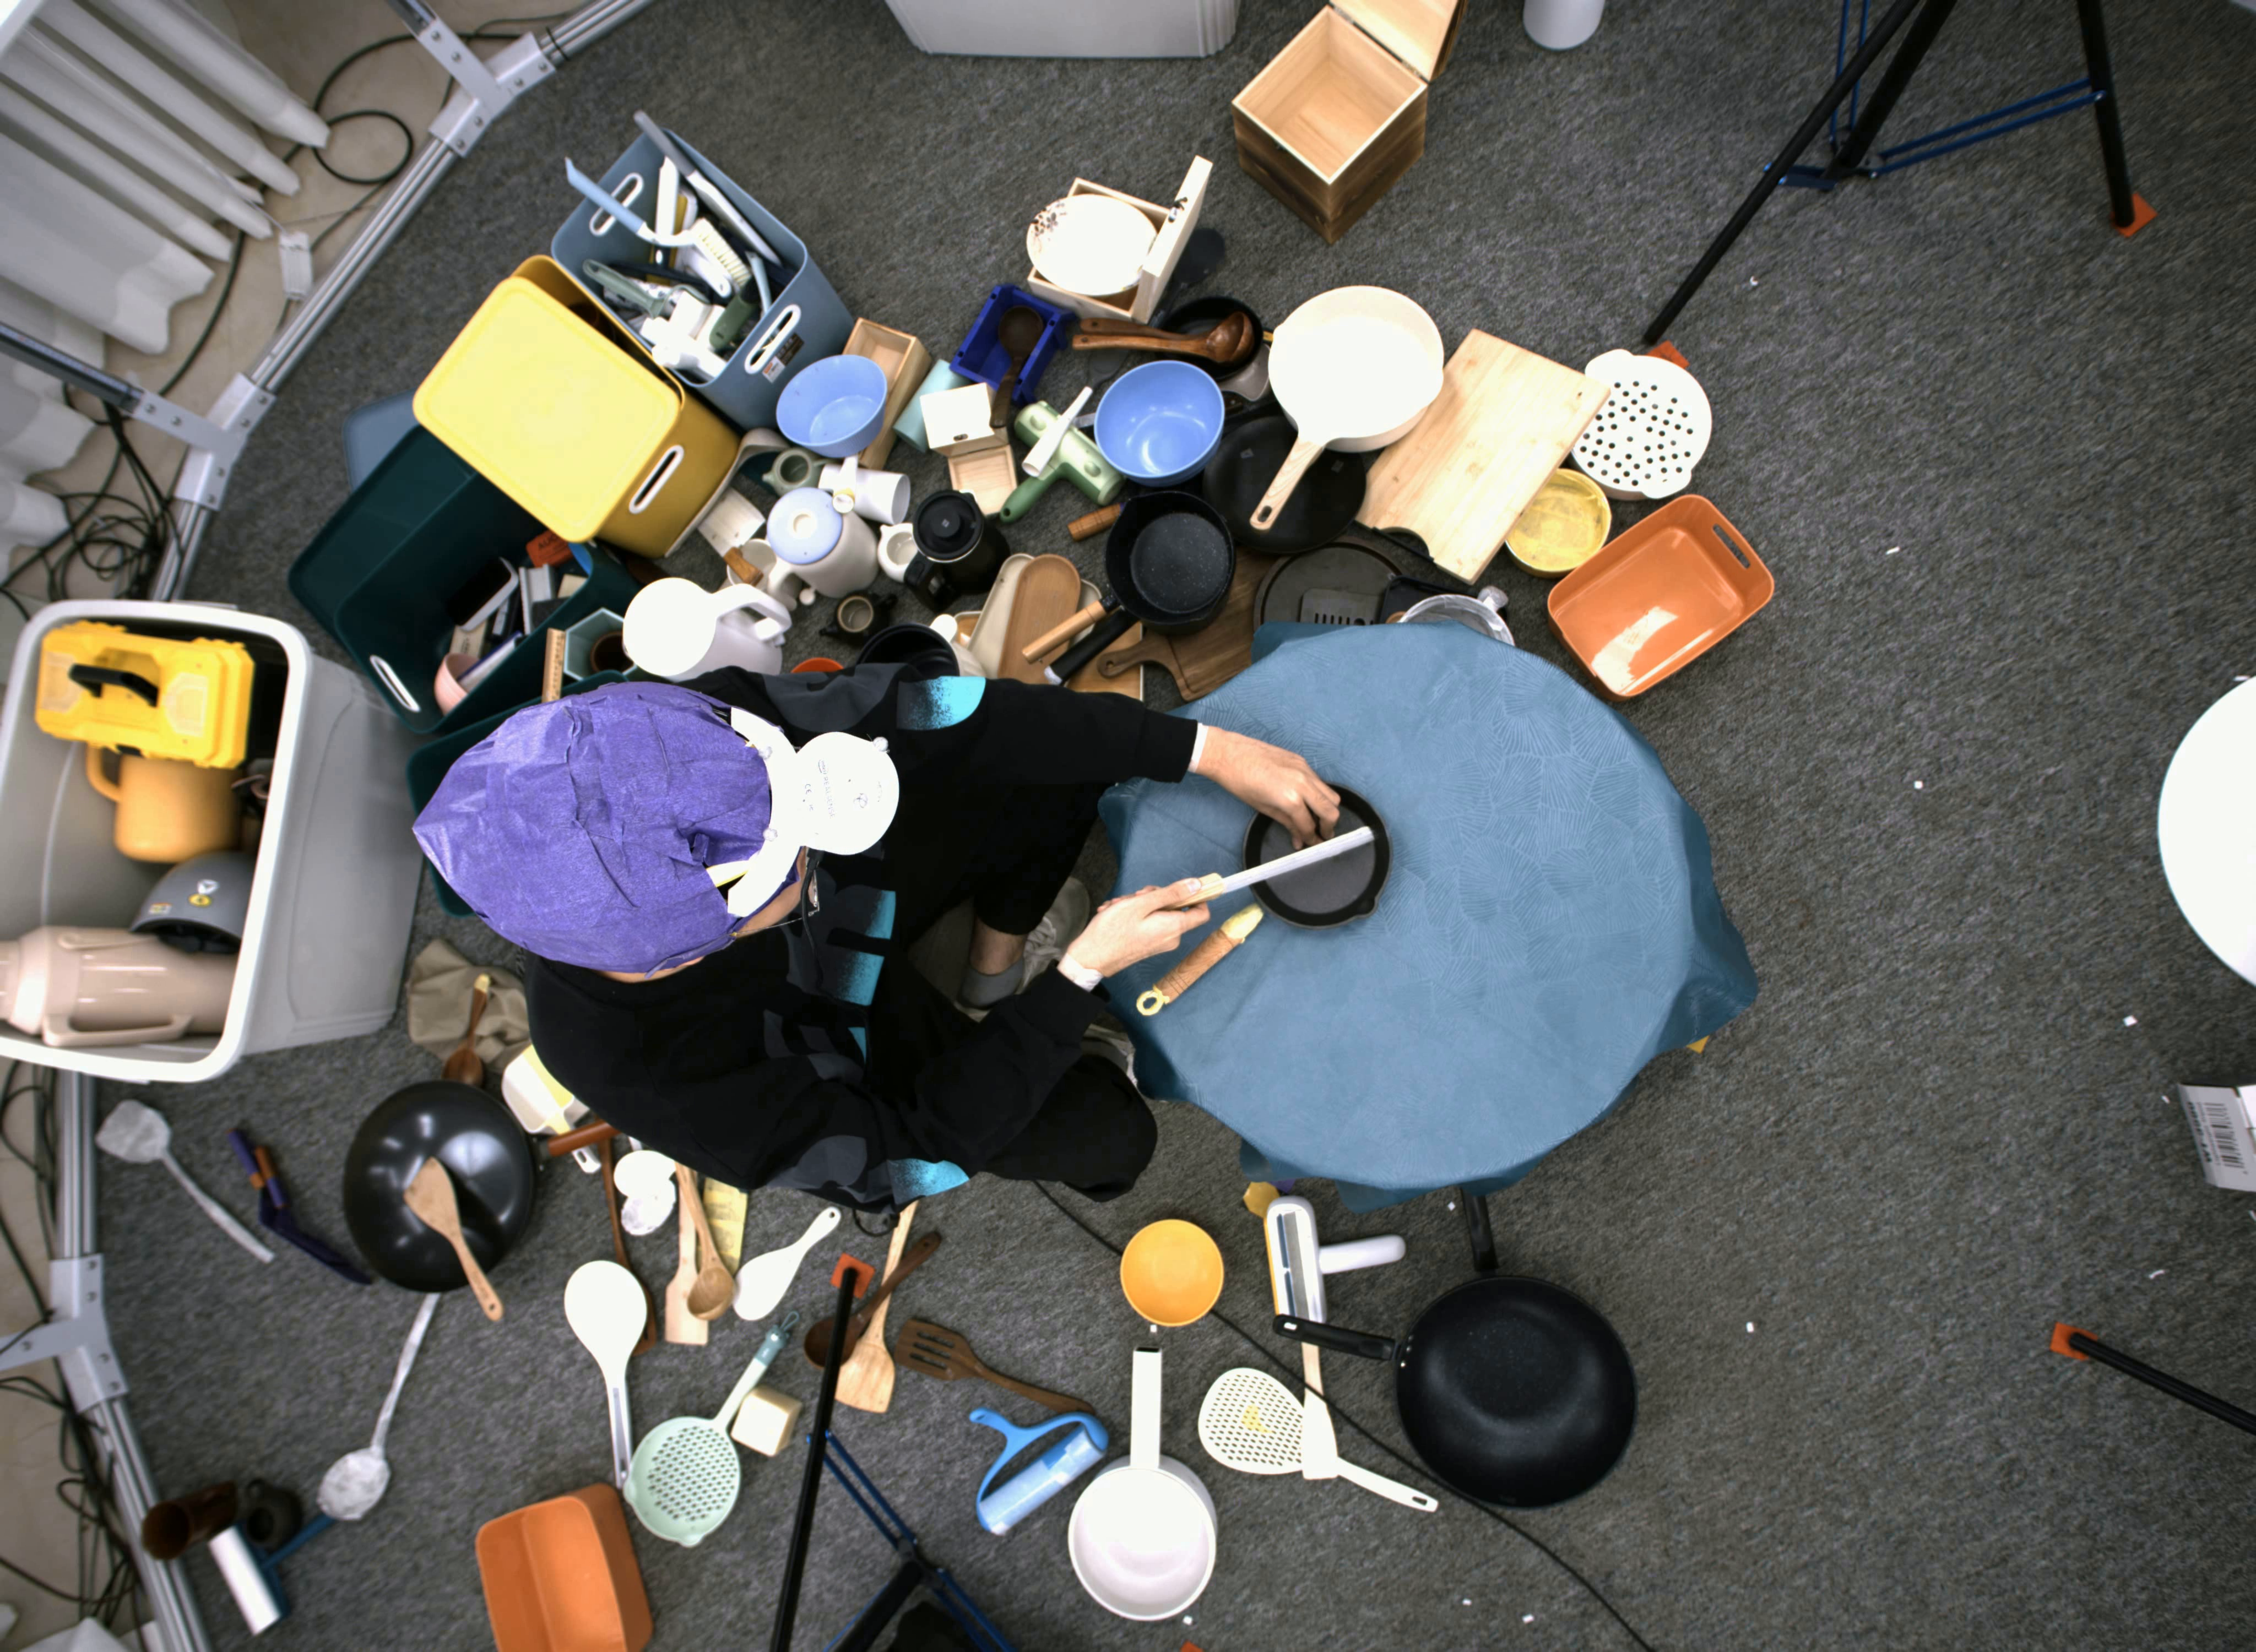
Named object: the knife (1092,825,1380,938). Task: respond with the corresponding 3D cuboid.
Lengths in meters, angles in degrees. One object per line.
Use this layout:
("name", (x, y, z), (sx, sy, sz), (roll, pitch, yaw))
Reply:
("knife", (0.114, 0.052, 1.395), (0.314, 0.115, 0.021), (-18, 79, -8))

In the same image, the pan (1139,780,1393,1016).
("pan", (0.136, 0.086, 1.459), (0.325, 0.049, 0.168), (-42, 81, 5))
